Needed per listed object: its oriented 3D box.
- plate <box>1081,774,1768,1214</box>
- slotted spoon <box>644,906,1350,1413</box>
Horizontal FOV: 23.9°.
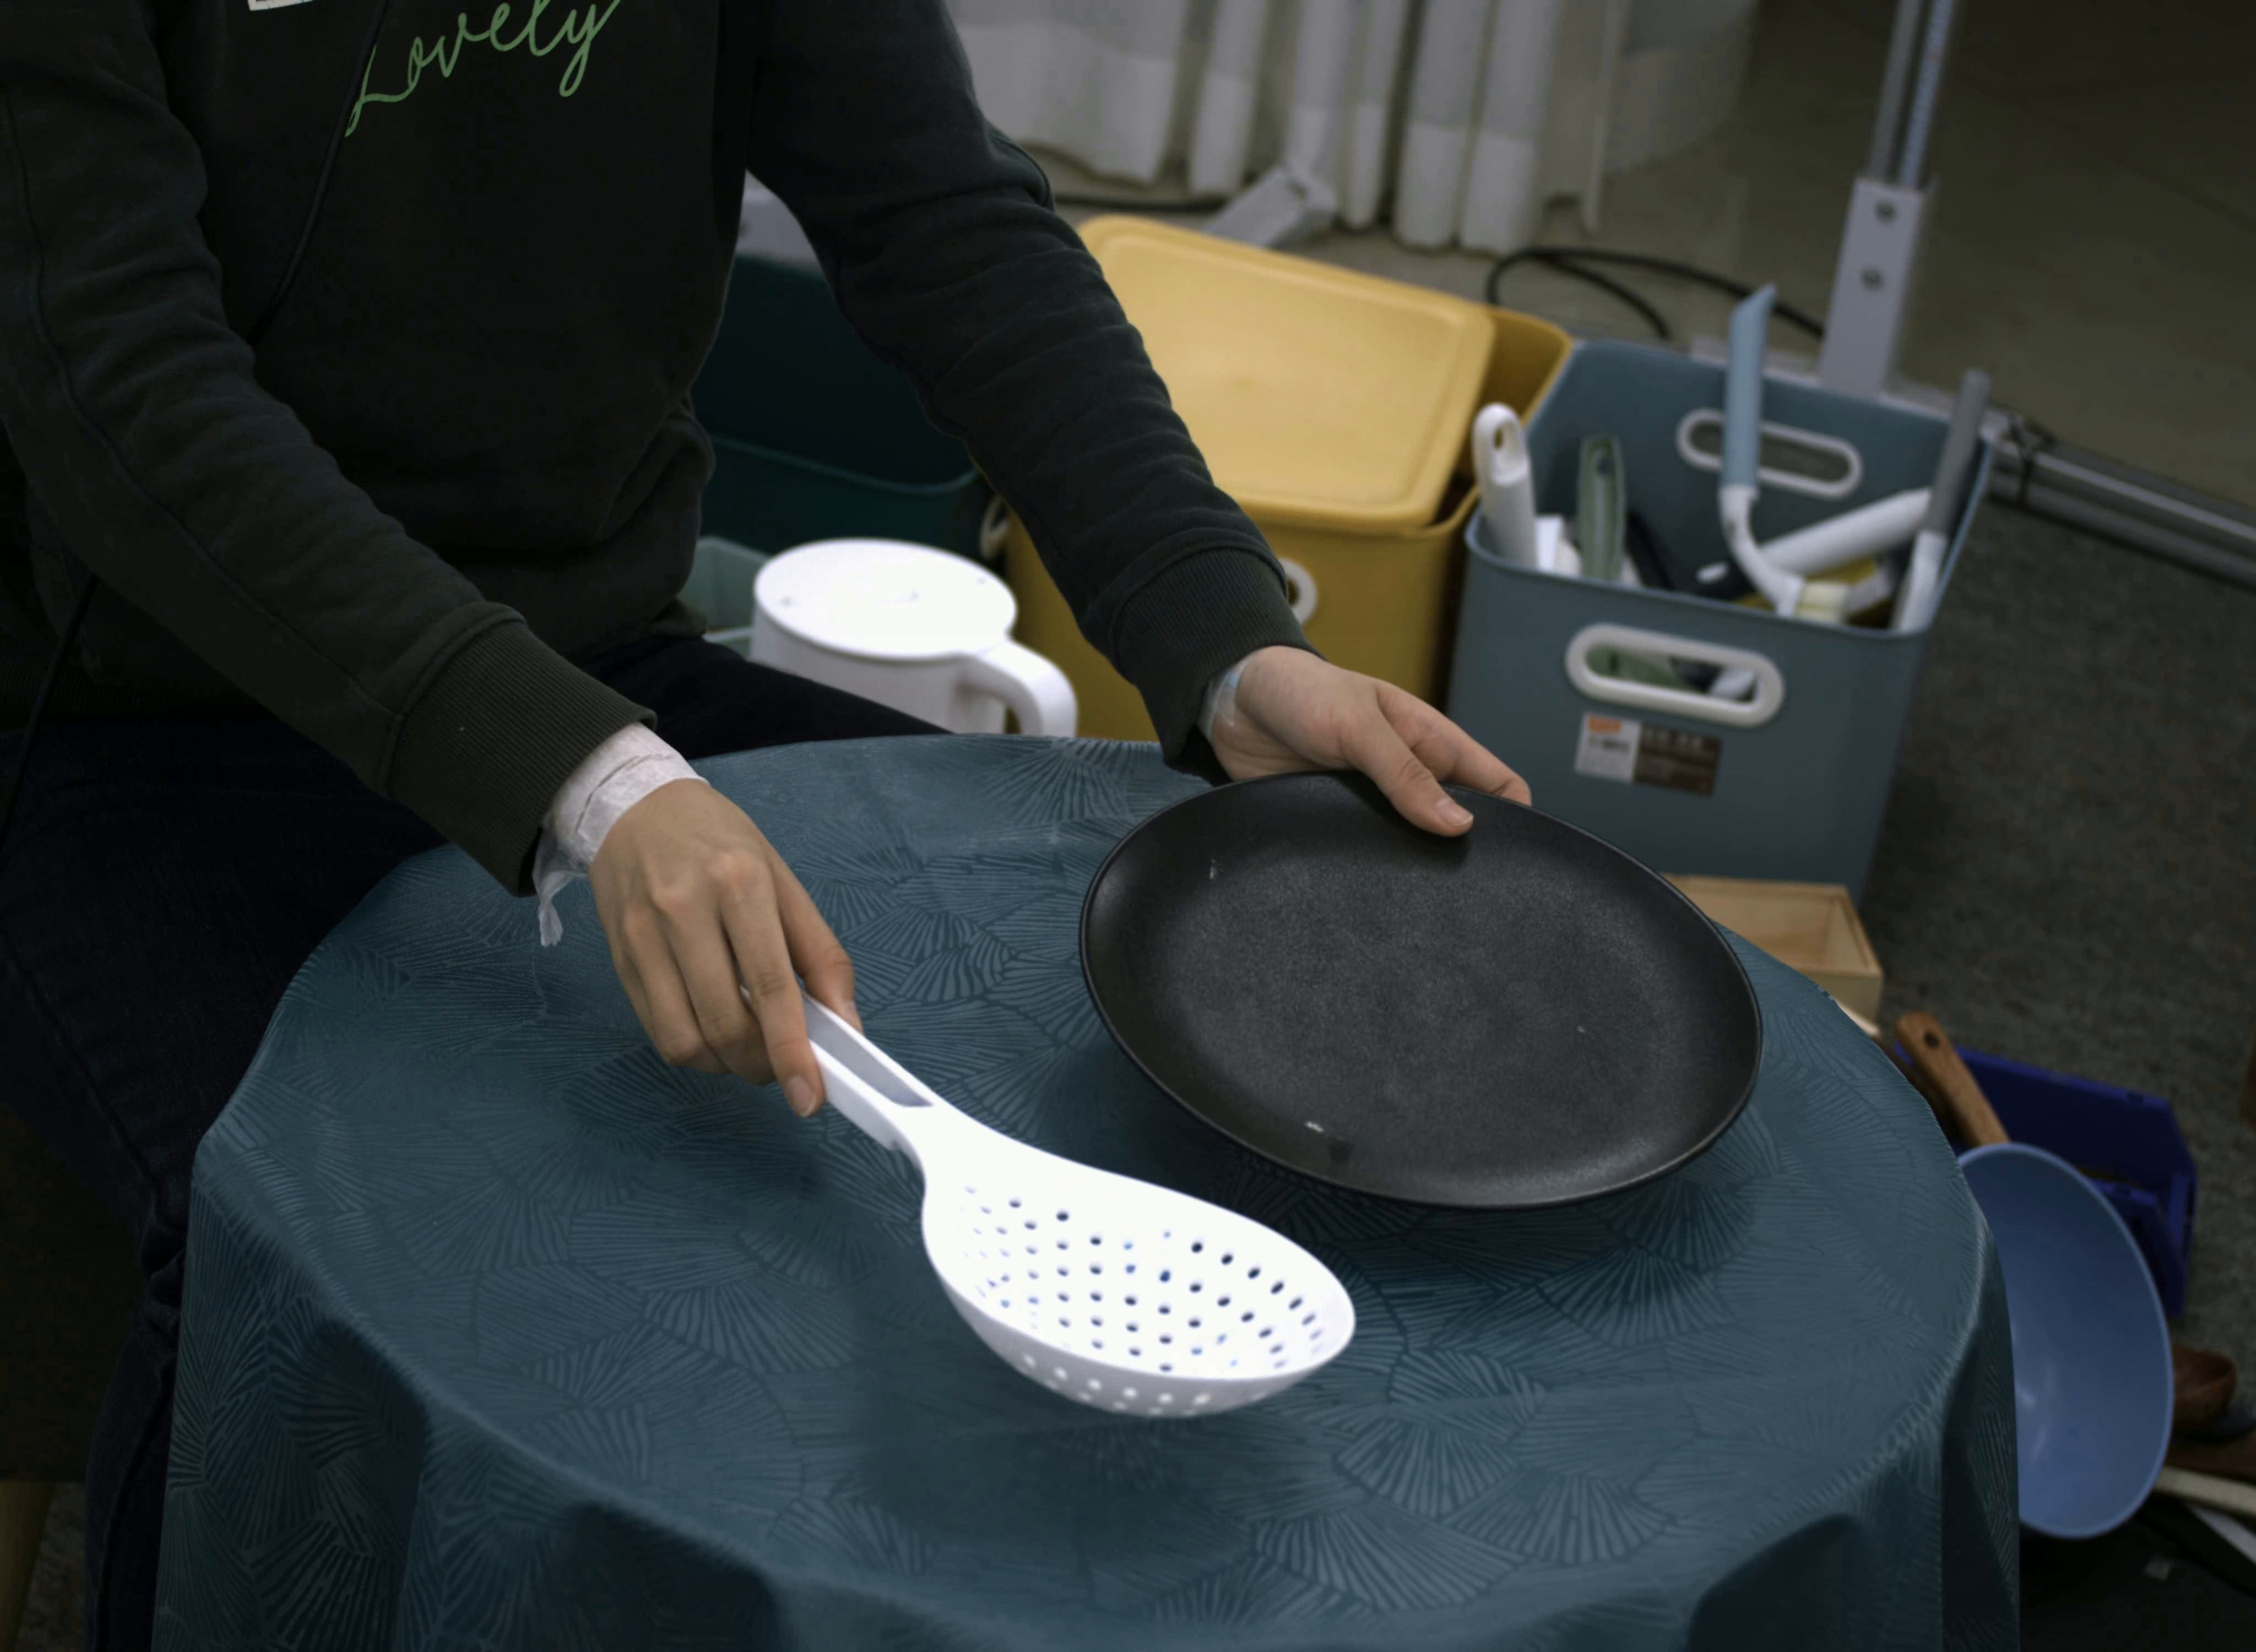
[{"bbox_3d":[0.102,0.061,1.854,0.243,0.023,0.246,7,35,-5],"label":"plate"},{"bbox_3d":[-0.061,0.102,1.724,0.135,0.045,0.353,-2,28,-37],"label":"slotted spoon"}]
